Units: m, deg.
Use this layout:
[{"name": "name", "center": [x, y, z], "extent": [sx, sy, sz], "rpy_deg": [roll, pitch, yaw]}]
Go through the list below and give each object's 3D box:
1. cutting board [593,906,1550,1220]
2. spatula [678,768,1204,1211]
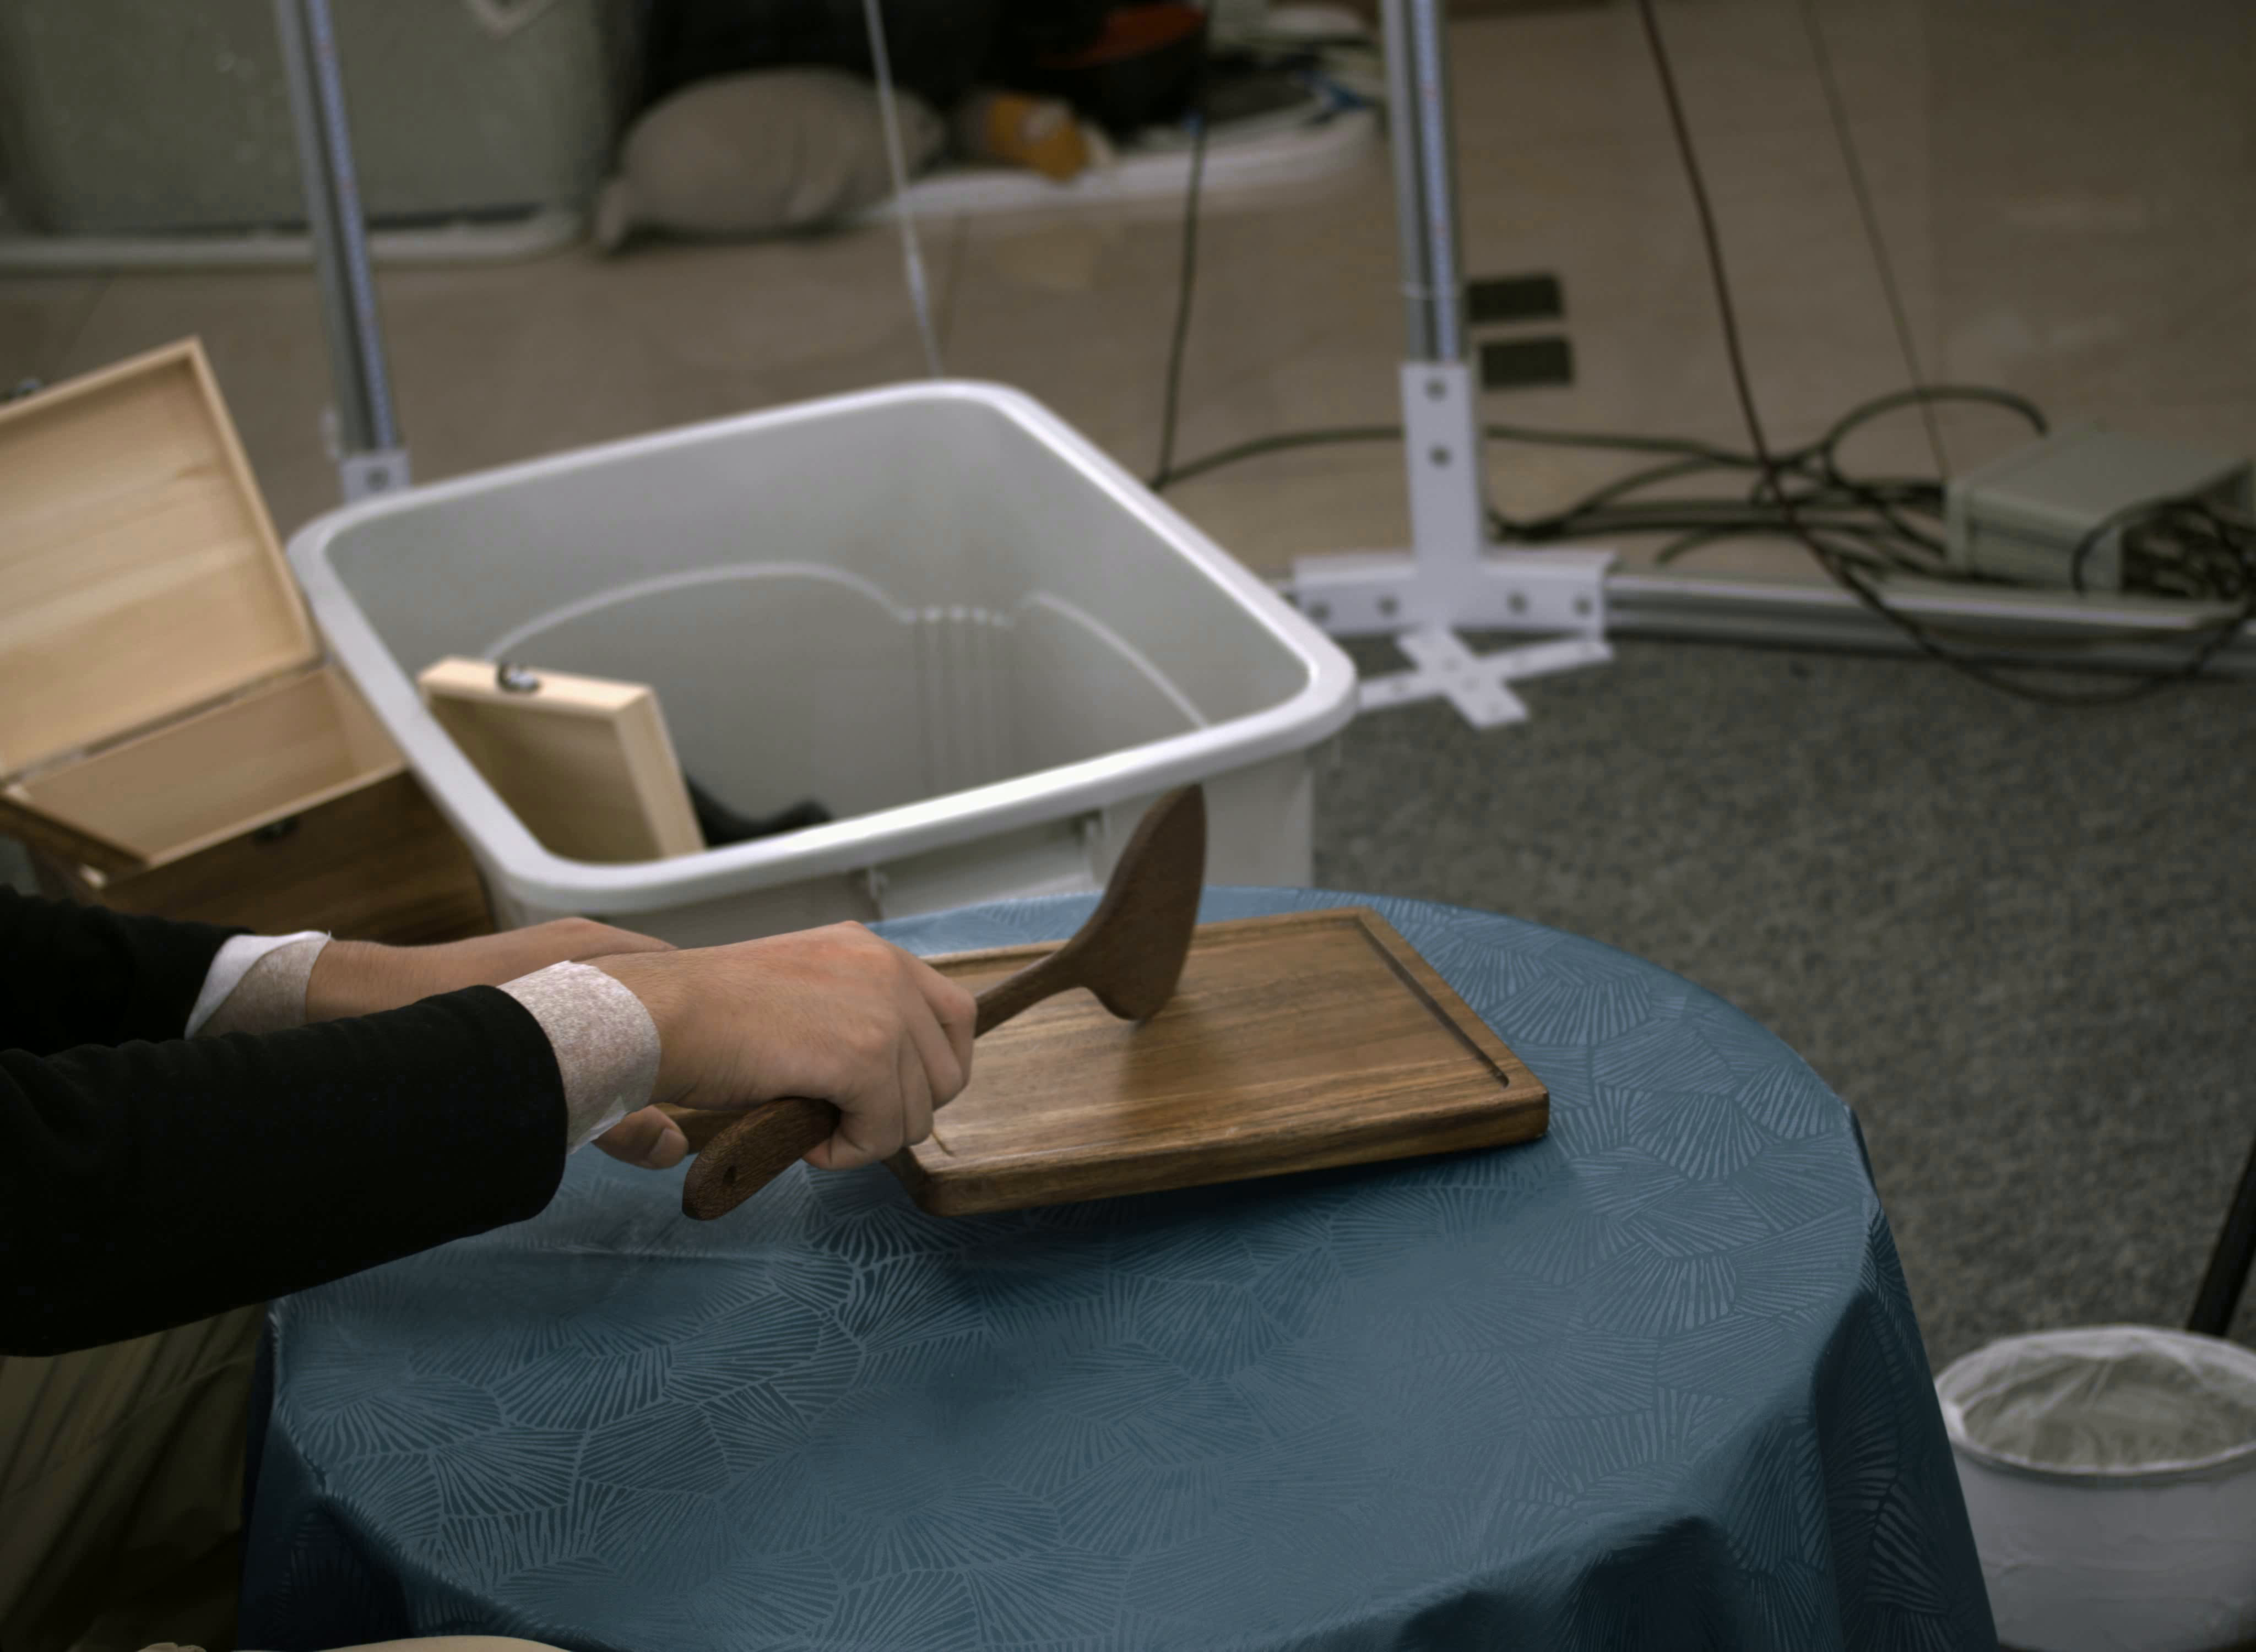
[{"name": "cutting board", "center": [-0.034, 0.094, 2.179], "extent": [0.351, 0.023, 0.198], "rpy_deg": [-7, 24, -18]}, {"name": "spatula", "center": [-0.062, 0.069, 2.073], "extent": [0.015, 0.097, 0.382], "rpy_deg": [16, 24, 25]}]
